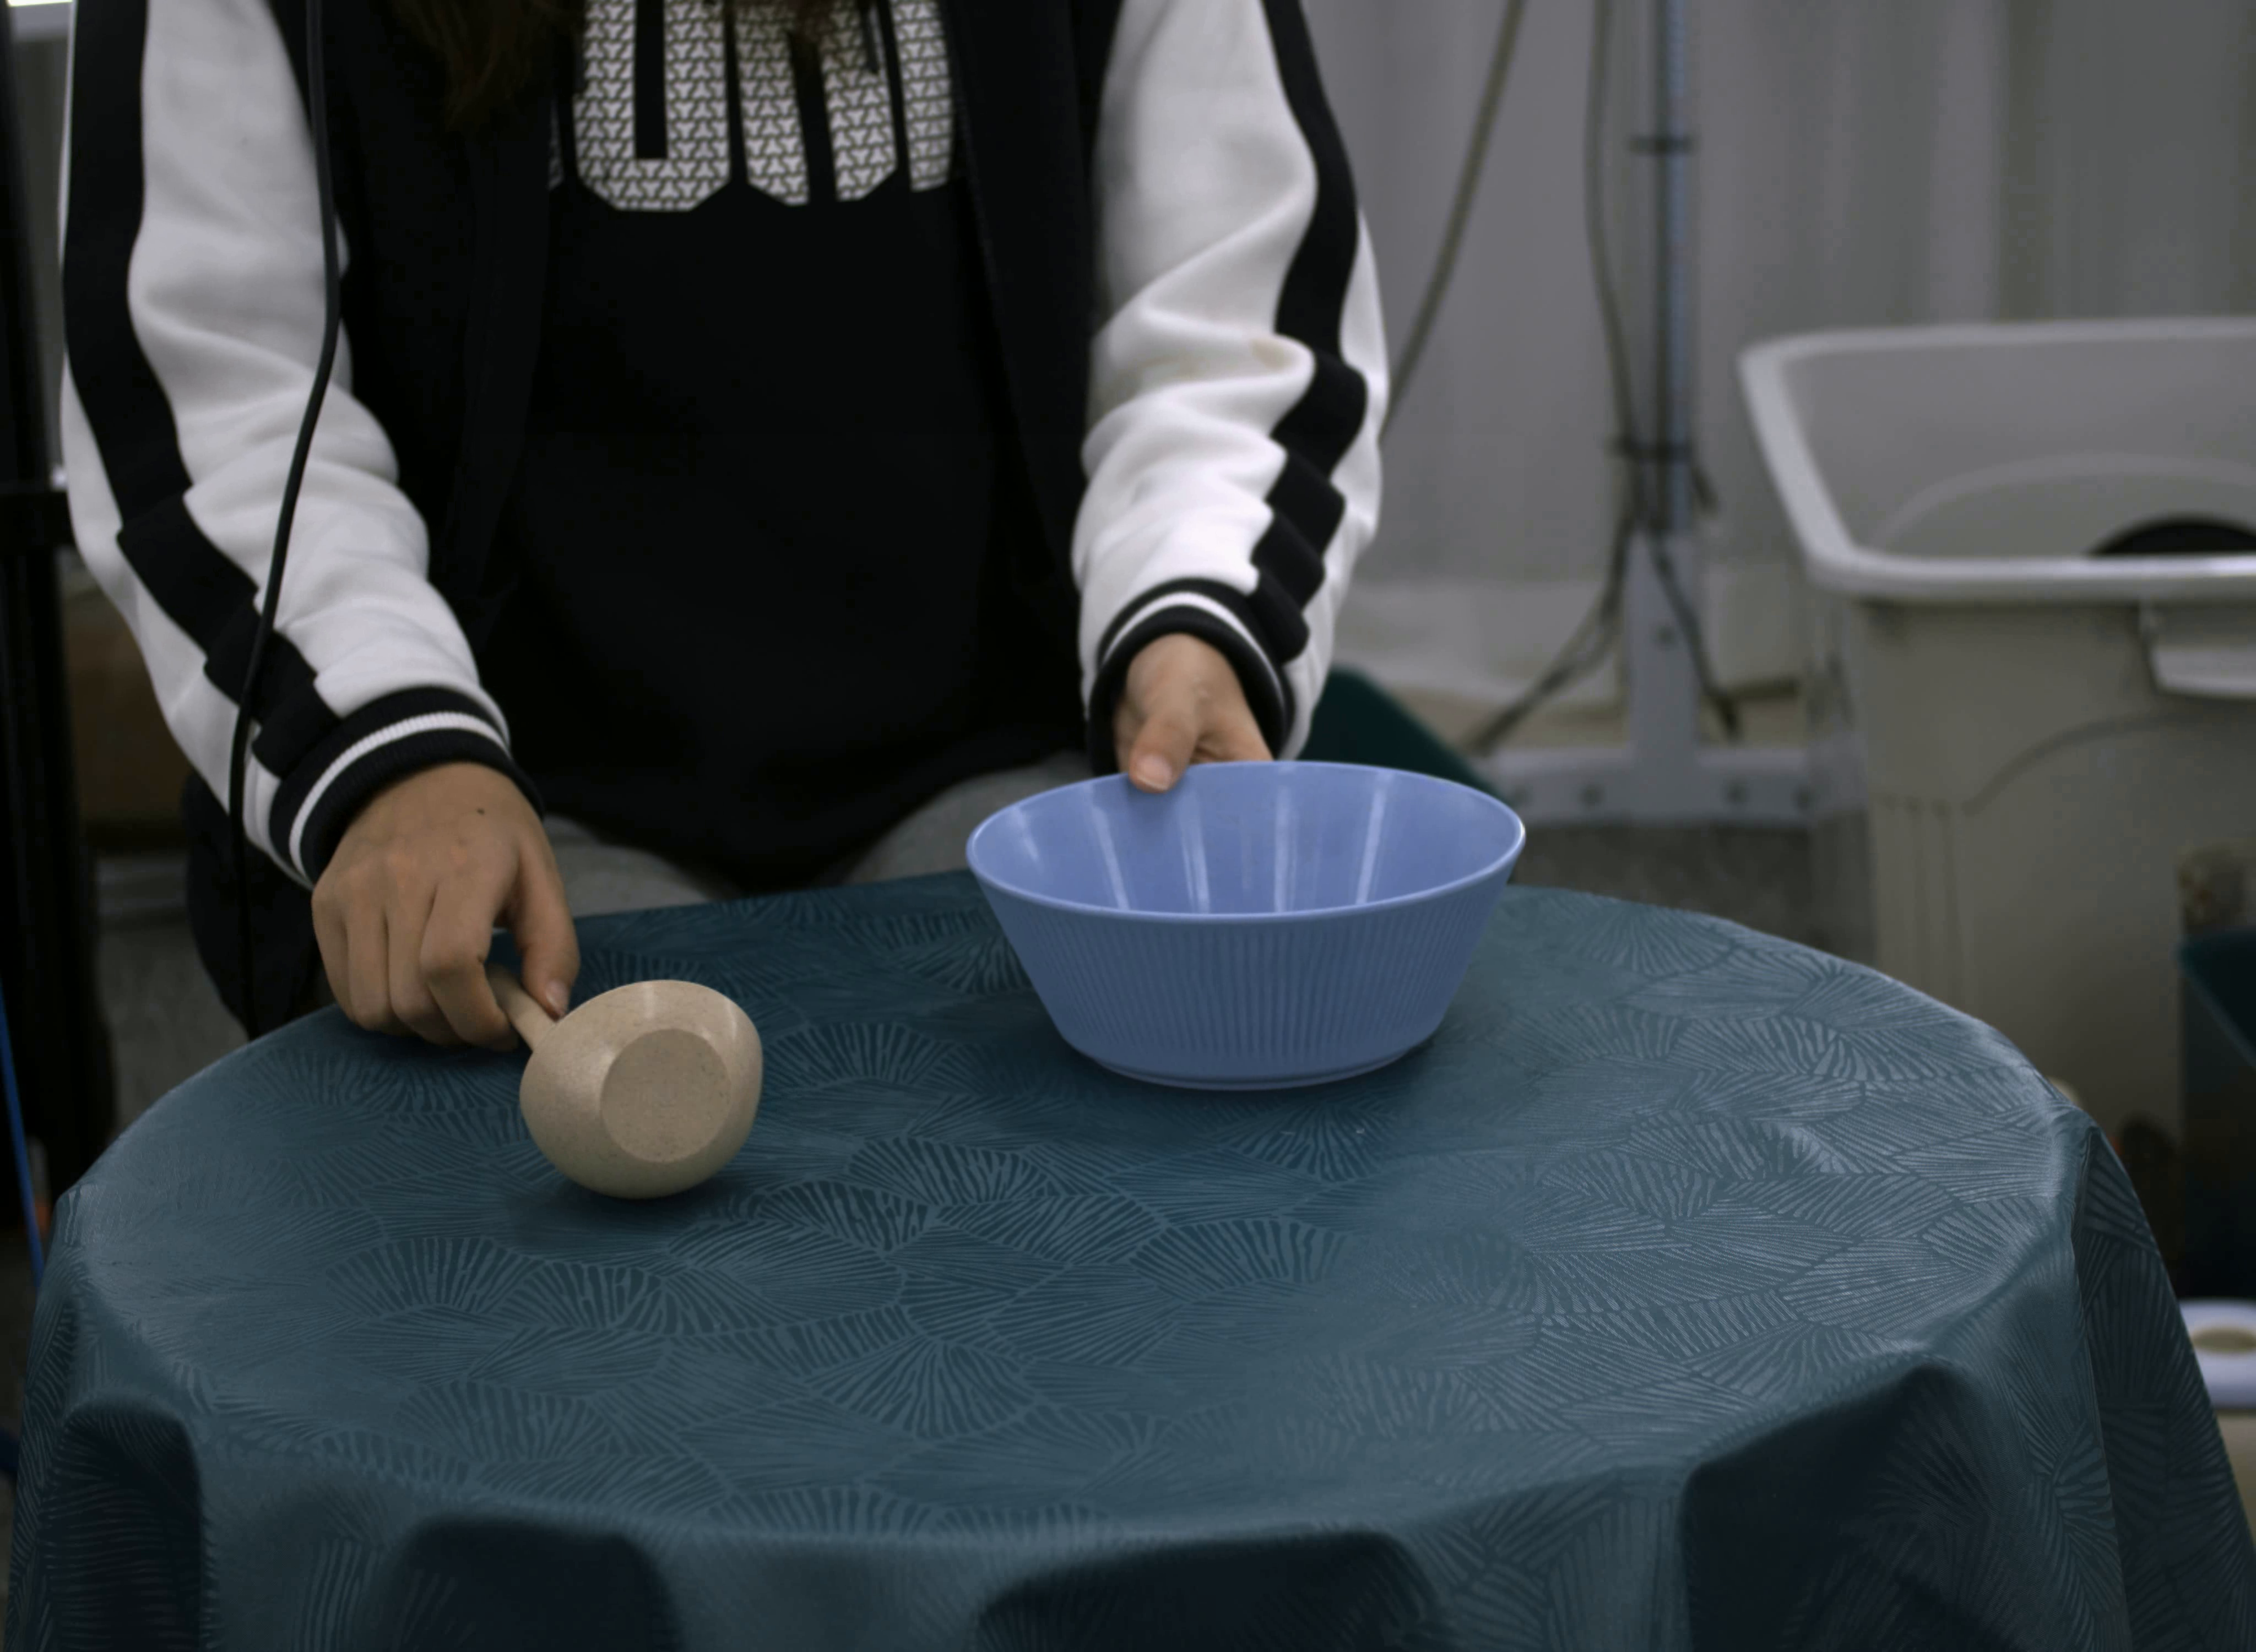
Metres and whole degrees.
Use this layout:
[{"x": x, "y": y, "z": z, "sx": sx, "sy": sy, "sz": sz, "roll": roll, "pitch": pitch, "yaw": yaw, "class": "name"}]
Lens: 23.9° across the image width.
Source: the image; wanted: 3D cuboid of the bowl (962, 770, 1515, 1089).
[{"x": 0.035, "y": 0.035, "z": 1.683, "sx": 0.175, "sy": 0.070, "sz": 0.177, "roll": -2, "pitch": 15, "yaw": -1, "class": "bowl"}]

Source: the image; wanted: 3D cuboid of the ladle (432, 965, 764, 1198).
[{"x": -0.177, "y": 0.049, "z": 1.656, "sx": 0.071, "sy": 0.073, "sz": 0.259, "roll": 0, "pitch": 15, "yaw": -21, "class": "ladle"}]
